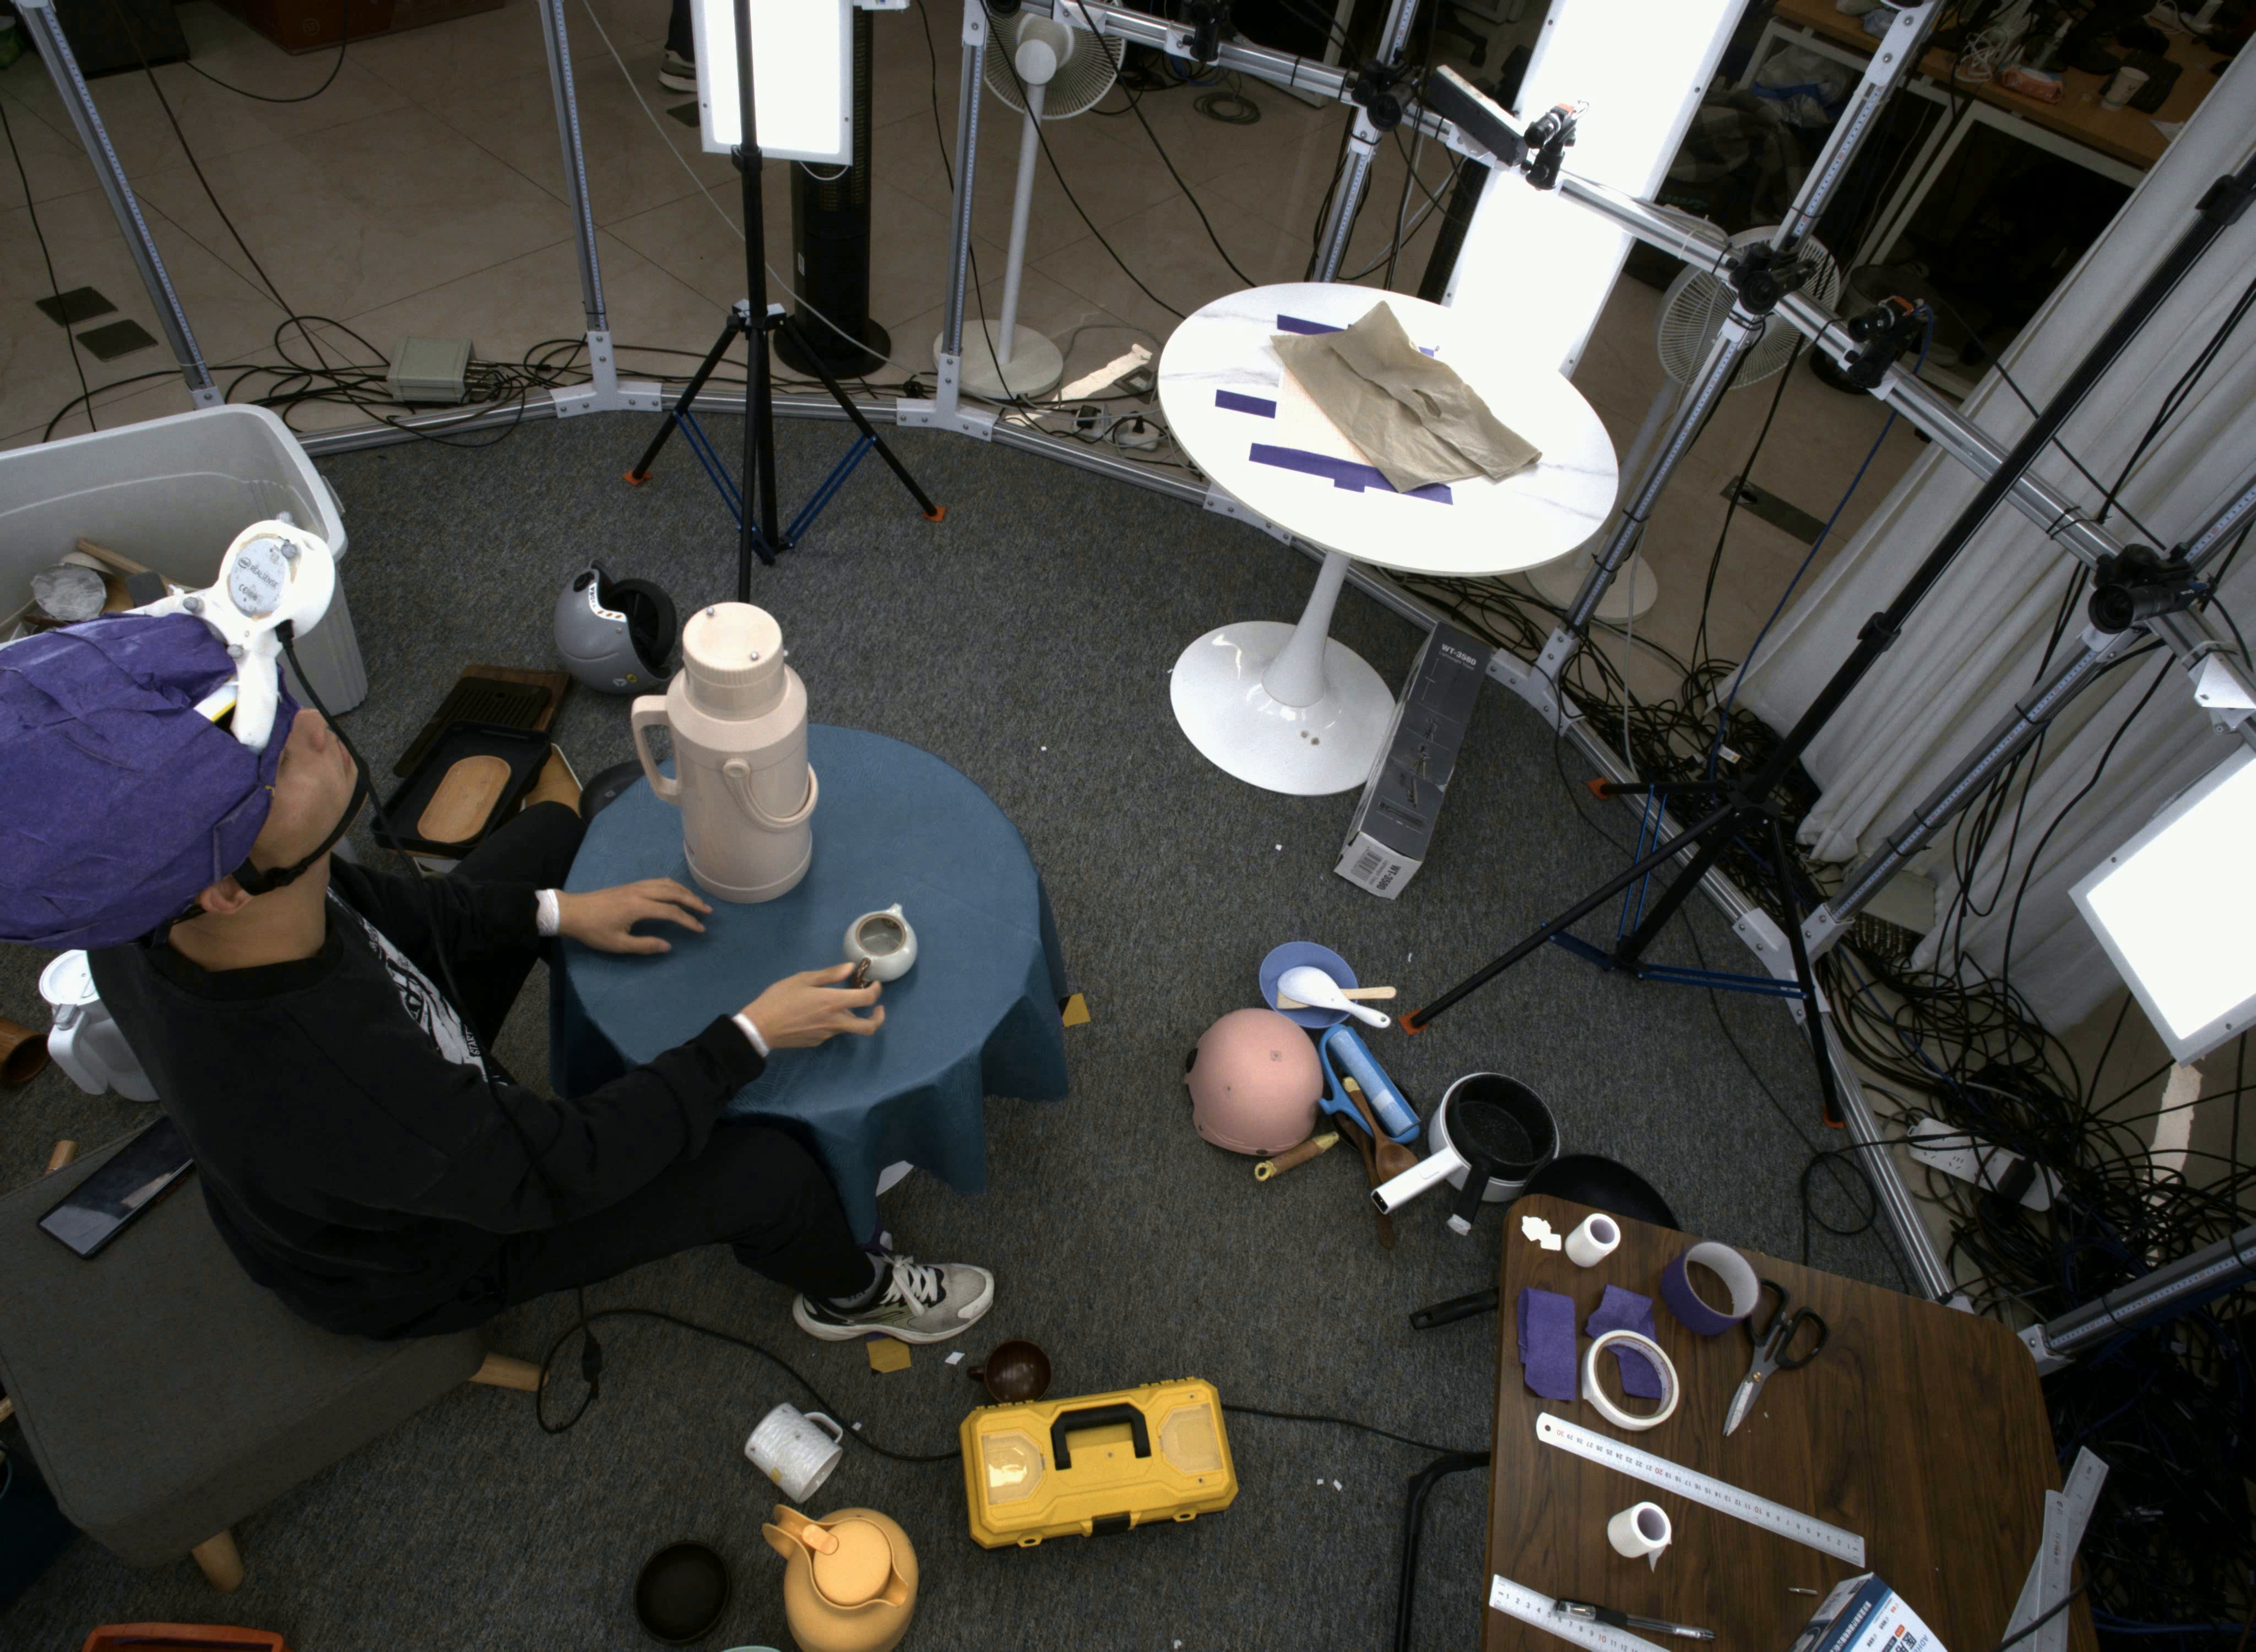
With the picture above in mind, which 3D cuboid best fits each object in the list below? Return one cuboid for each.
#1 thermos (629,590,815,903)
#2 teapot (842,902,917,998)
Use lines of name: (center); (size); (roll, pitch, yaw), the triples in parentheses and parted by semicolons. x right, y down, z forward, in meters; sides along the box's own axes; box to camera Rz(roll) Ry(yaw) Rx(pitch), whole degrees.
thermos: (-0.475, -0.090, 1.519); (0.207, 0.414, 0.171); (-3, 54, -15)
teapot: (-0.309, 0.154, 1.599); (0.091, 0.060, 0.126); (21, 50, -1)
